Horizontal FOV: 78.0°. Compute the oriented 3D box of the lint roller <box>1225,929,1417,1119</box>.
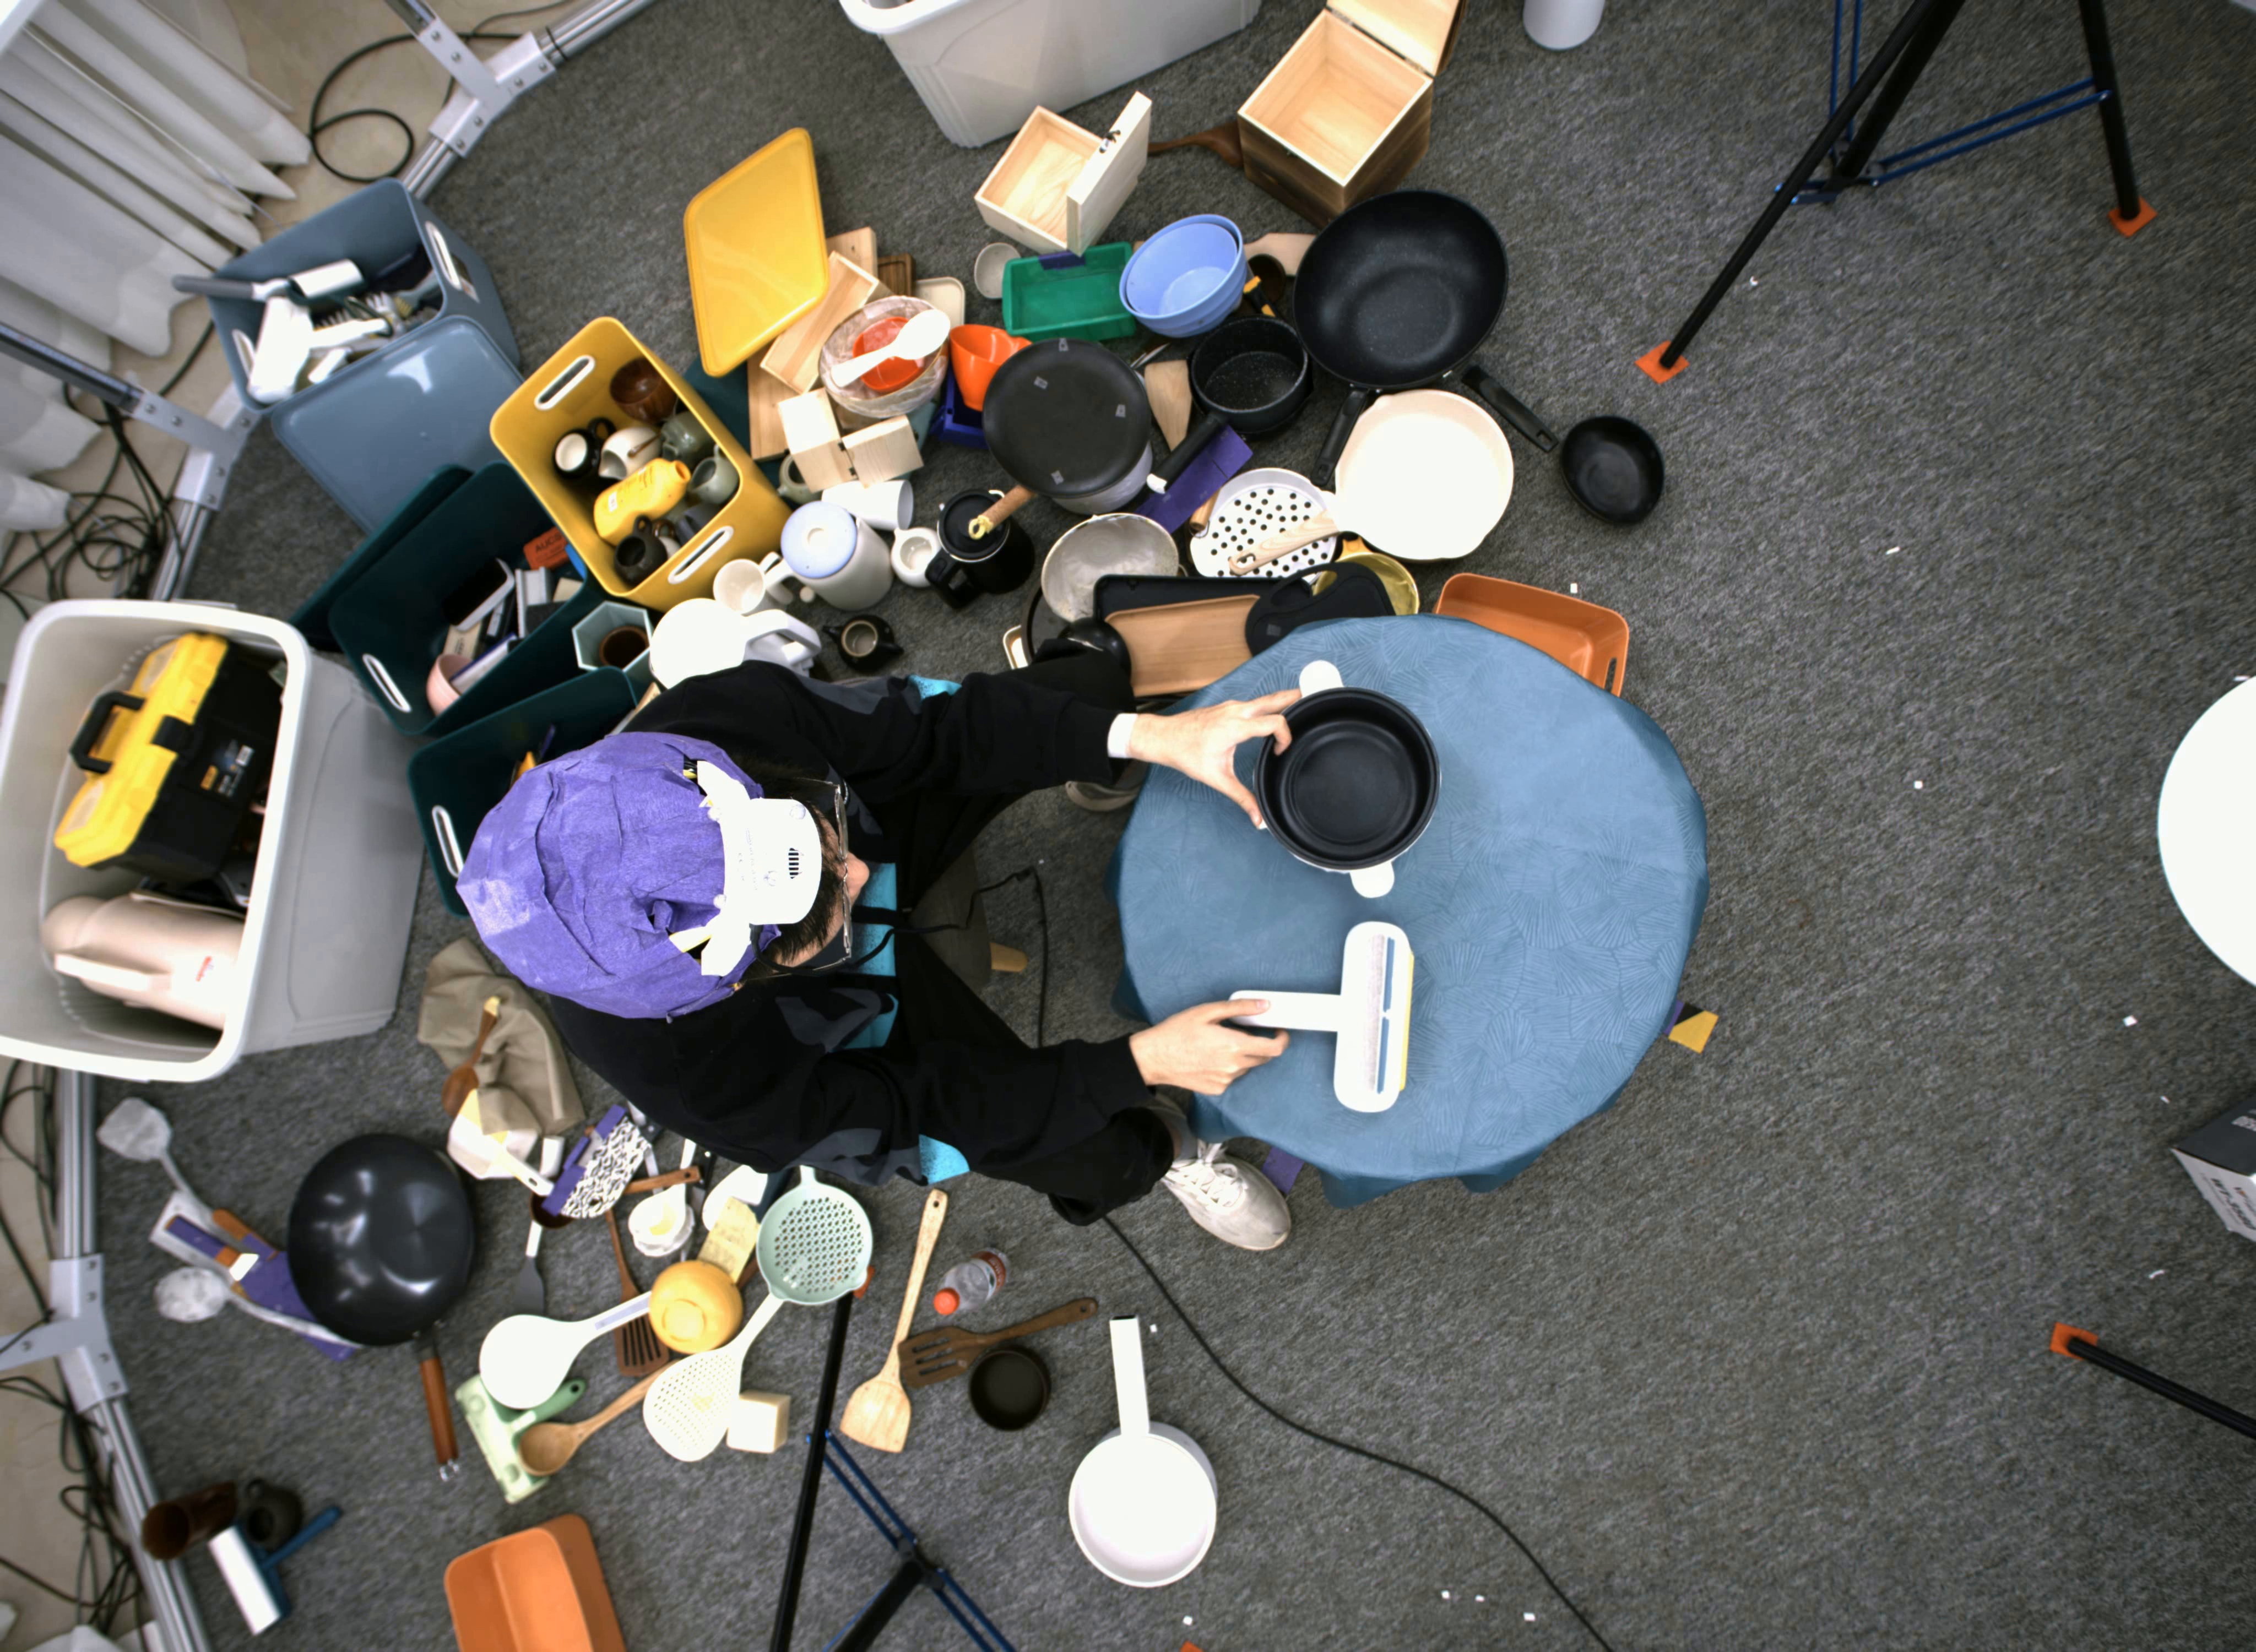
[{"bbox_3d":[0.192,0.194,1.429,0.193,0.074,0.191,8,83,12],"label":"lint roller"}]

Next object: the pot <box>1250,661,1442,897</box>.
[{"bbox_3d":[0.217,-0.039,1.400,0.191,0.143,0.239,-15,83,6],"label":"pot"}]
